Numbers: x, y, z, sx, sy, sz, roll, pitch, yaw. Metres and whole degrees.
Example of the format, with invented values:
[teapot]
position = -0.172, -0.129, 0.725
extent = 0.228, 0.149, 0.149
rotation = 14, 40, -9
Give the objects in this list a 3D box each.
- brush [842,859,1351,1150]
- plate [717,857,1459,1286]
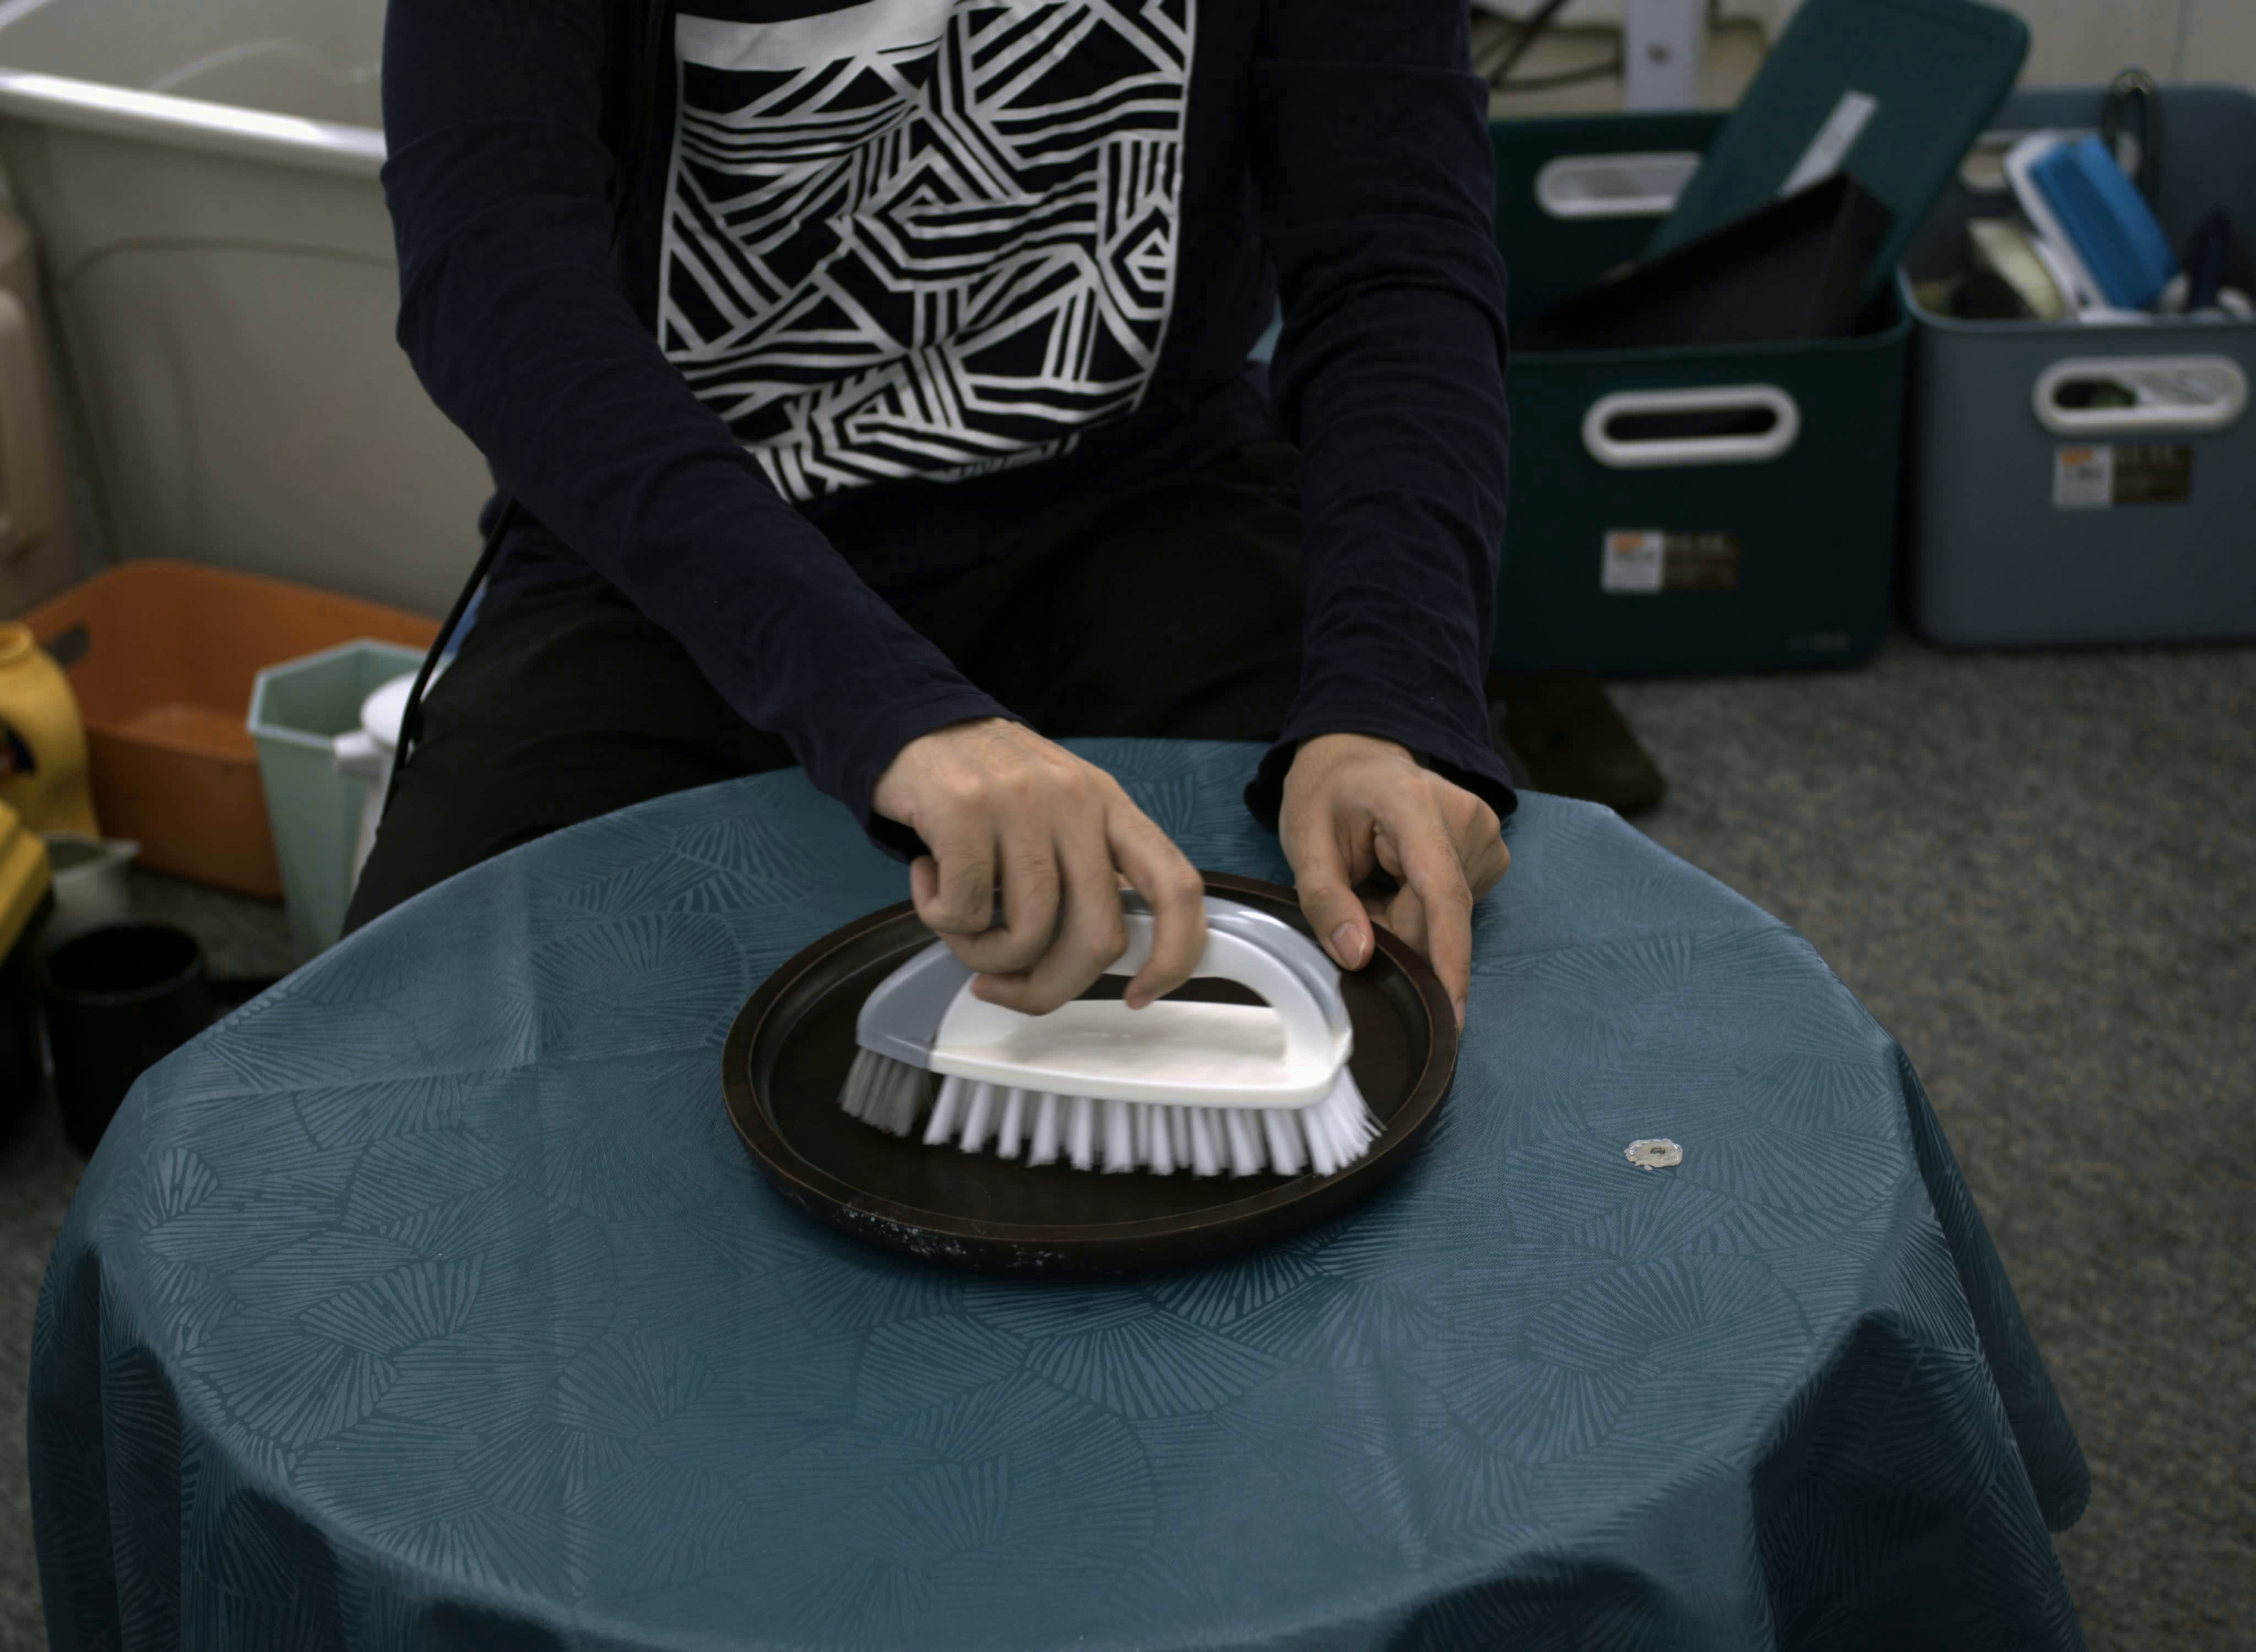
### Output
[brush]
position = -0.017, 0.056, 1.841
extent = 0.174, 0.093, 0.062
rotation = 2, 24, 19
[plate]
position = -0.013, 0.084, 1.910
extent = 0.253, 0.029, 0.259
rotation = -2, 29, 1
